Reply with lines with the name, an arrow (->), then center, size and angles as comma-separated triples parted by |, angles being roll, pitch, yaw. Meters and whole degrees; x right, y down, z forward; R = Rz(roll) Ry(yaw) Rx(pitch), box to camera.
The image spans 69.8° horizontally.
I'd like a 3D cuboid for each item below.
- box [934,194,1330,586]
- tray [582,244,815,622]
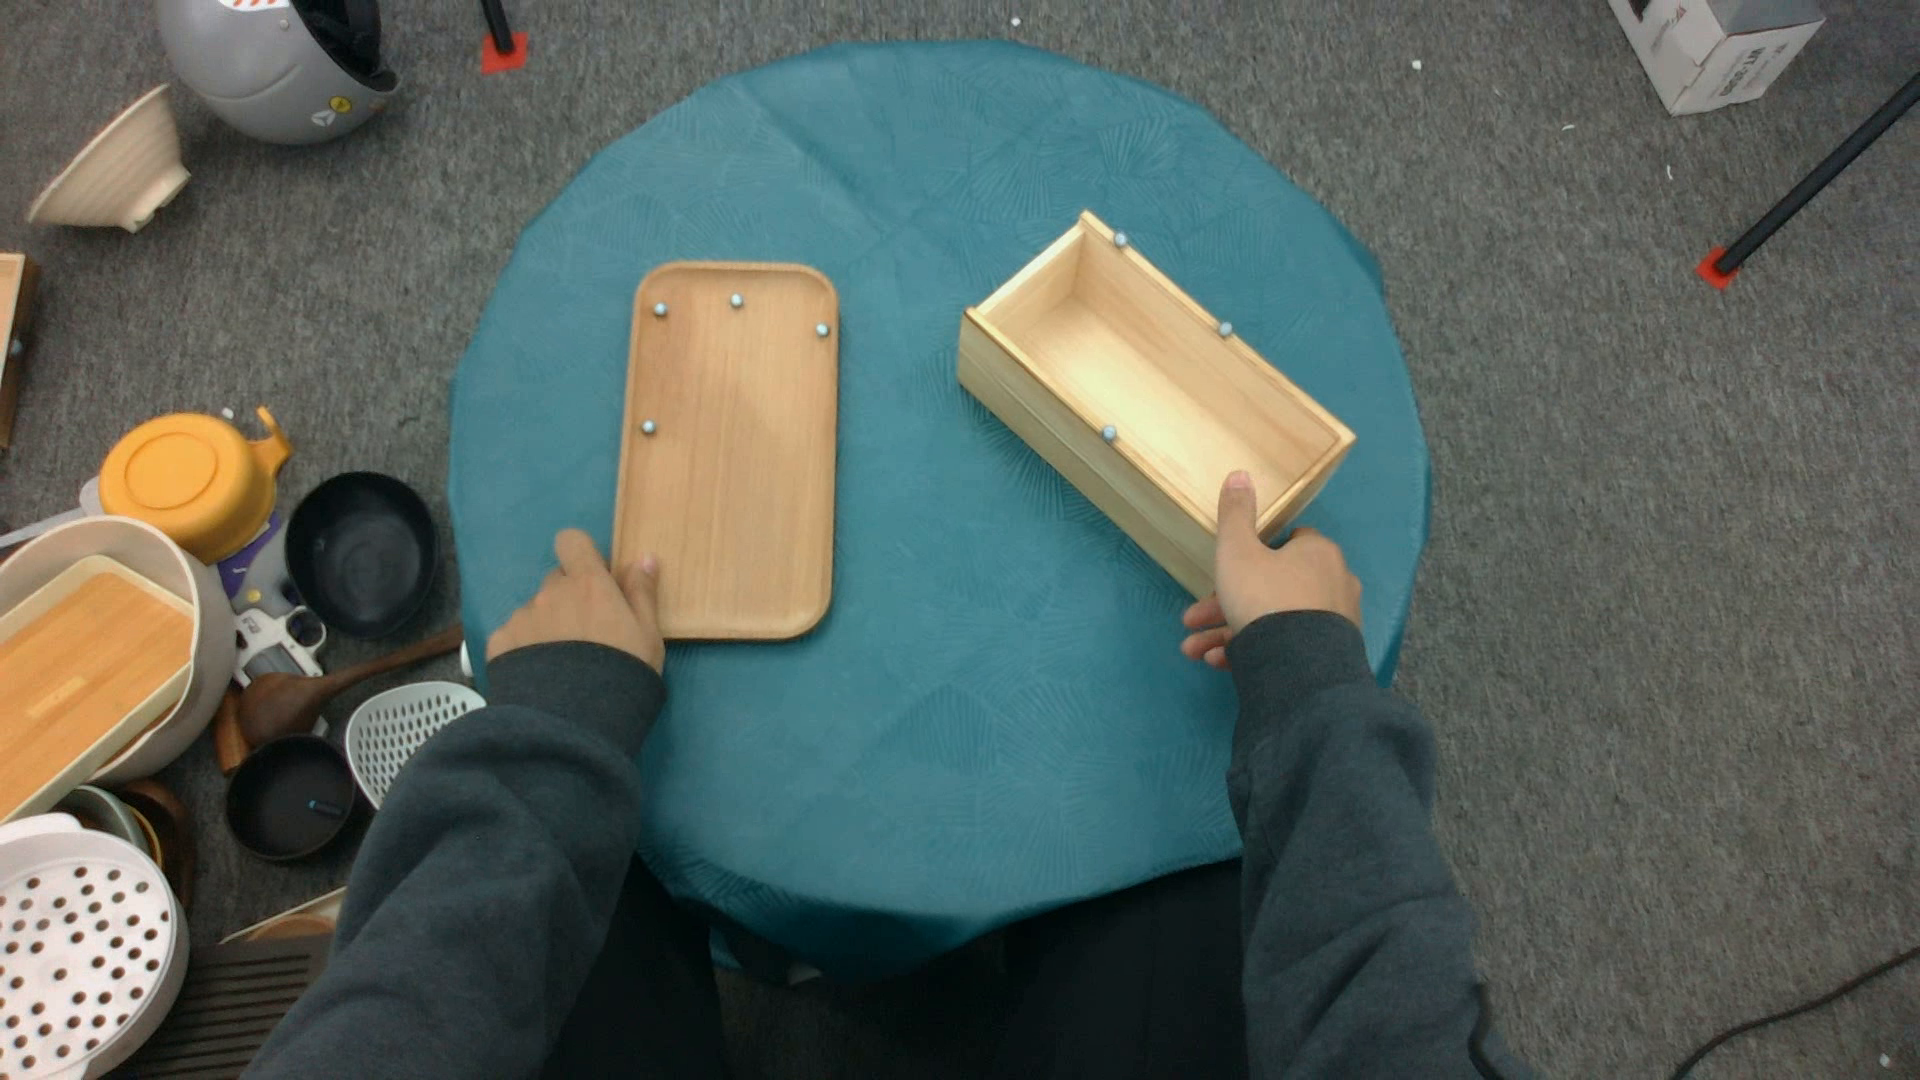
box -> 0.096, -0.090, 0.819 | 0.211, 0.080, 0.108 | 43, 71, 13
tray -> -0.152, -0.069, 0.825 | 0.130, 0.023, 0.251 | 0, 68, -1
